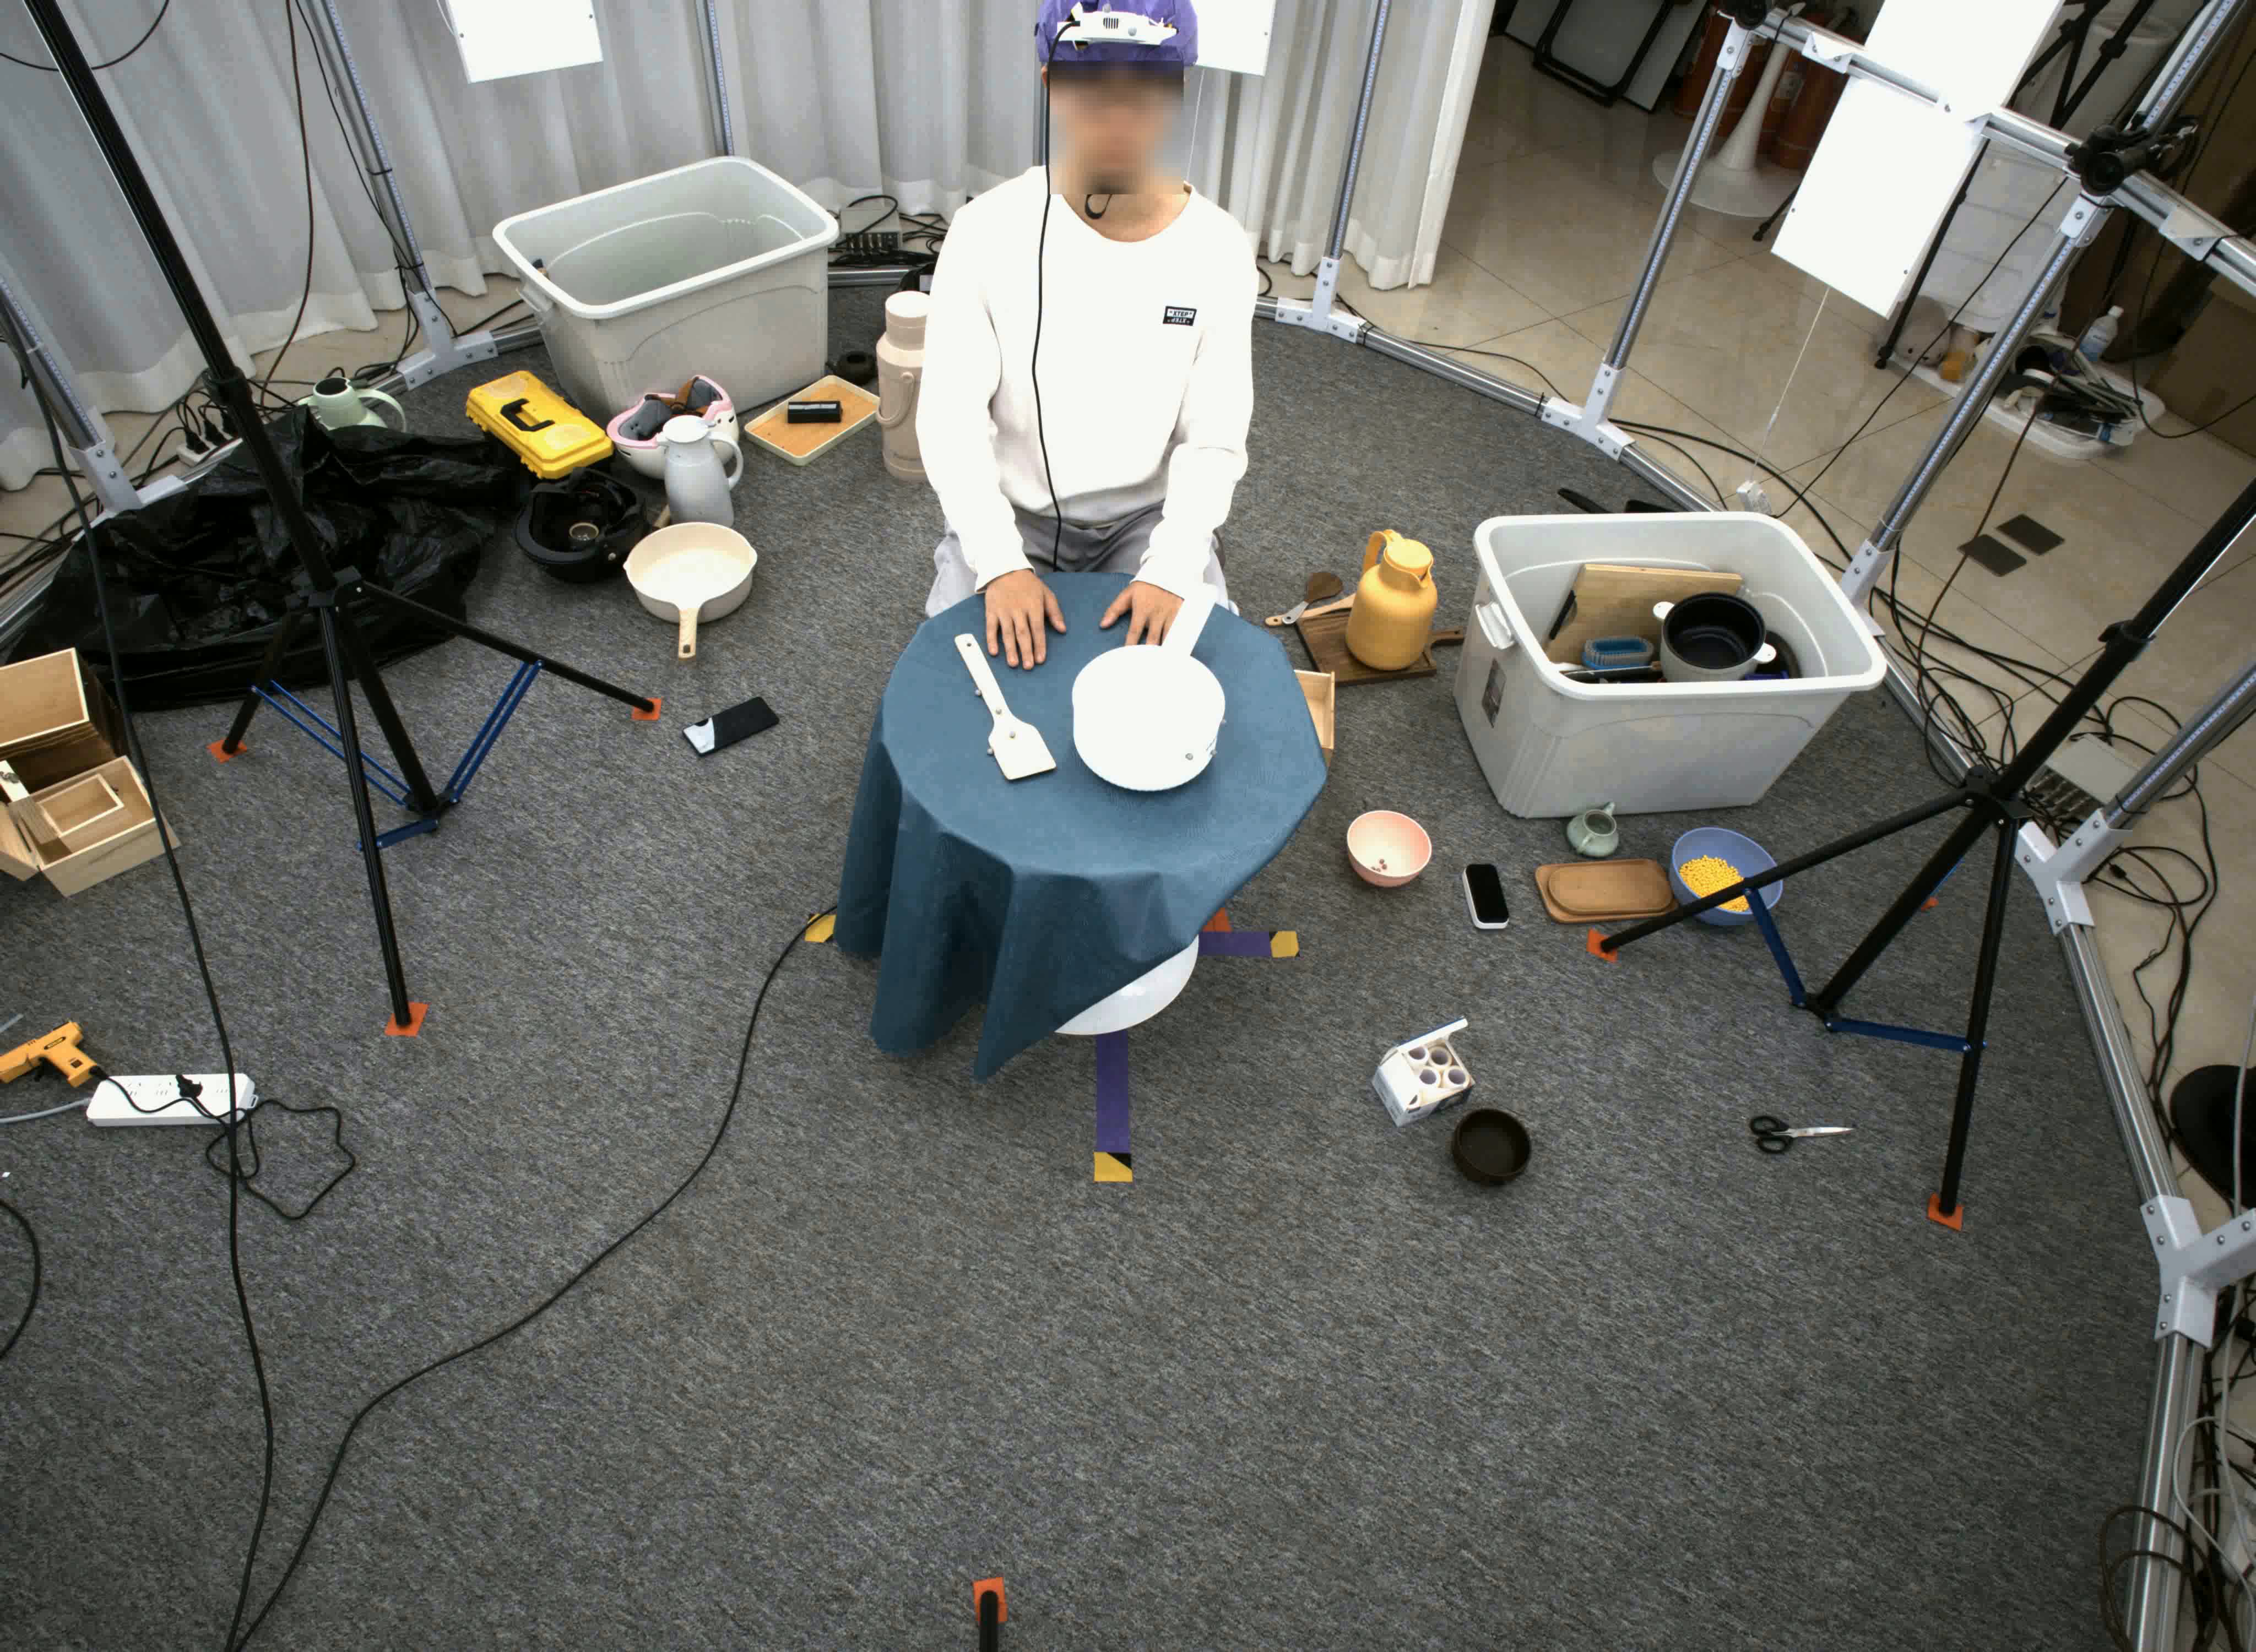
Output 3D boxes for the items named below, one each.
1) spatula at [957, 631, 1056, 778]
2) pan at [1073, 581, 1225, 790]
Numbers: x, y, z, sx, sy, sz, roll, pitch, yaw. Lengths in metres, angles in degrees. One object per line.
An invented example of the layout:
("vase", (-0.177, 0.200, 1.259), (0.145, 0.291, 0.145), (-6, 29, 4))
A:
("spatula", (-0.184, -0.177, 1.798), (0.072, 0.010, 0.300), (-16, 52, -16))
("pan", (0.051, -0.196, 1.773), (0.202, 0.099, 0.362), (17, 49, 11))
